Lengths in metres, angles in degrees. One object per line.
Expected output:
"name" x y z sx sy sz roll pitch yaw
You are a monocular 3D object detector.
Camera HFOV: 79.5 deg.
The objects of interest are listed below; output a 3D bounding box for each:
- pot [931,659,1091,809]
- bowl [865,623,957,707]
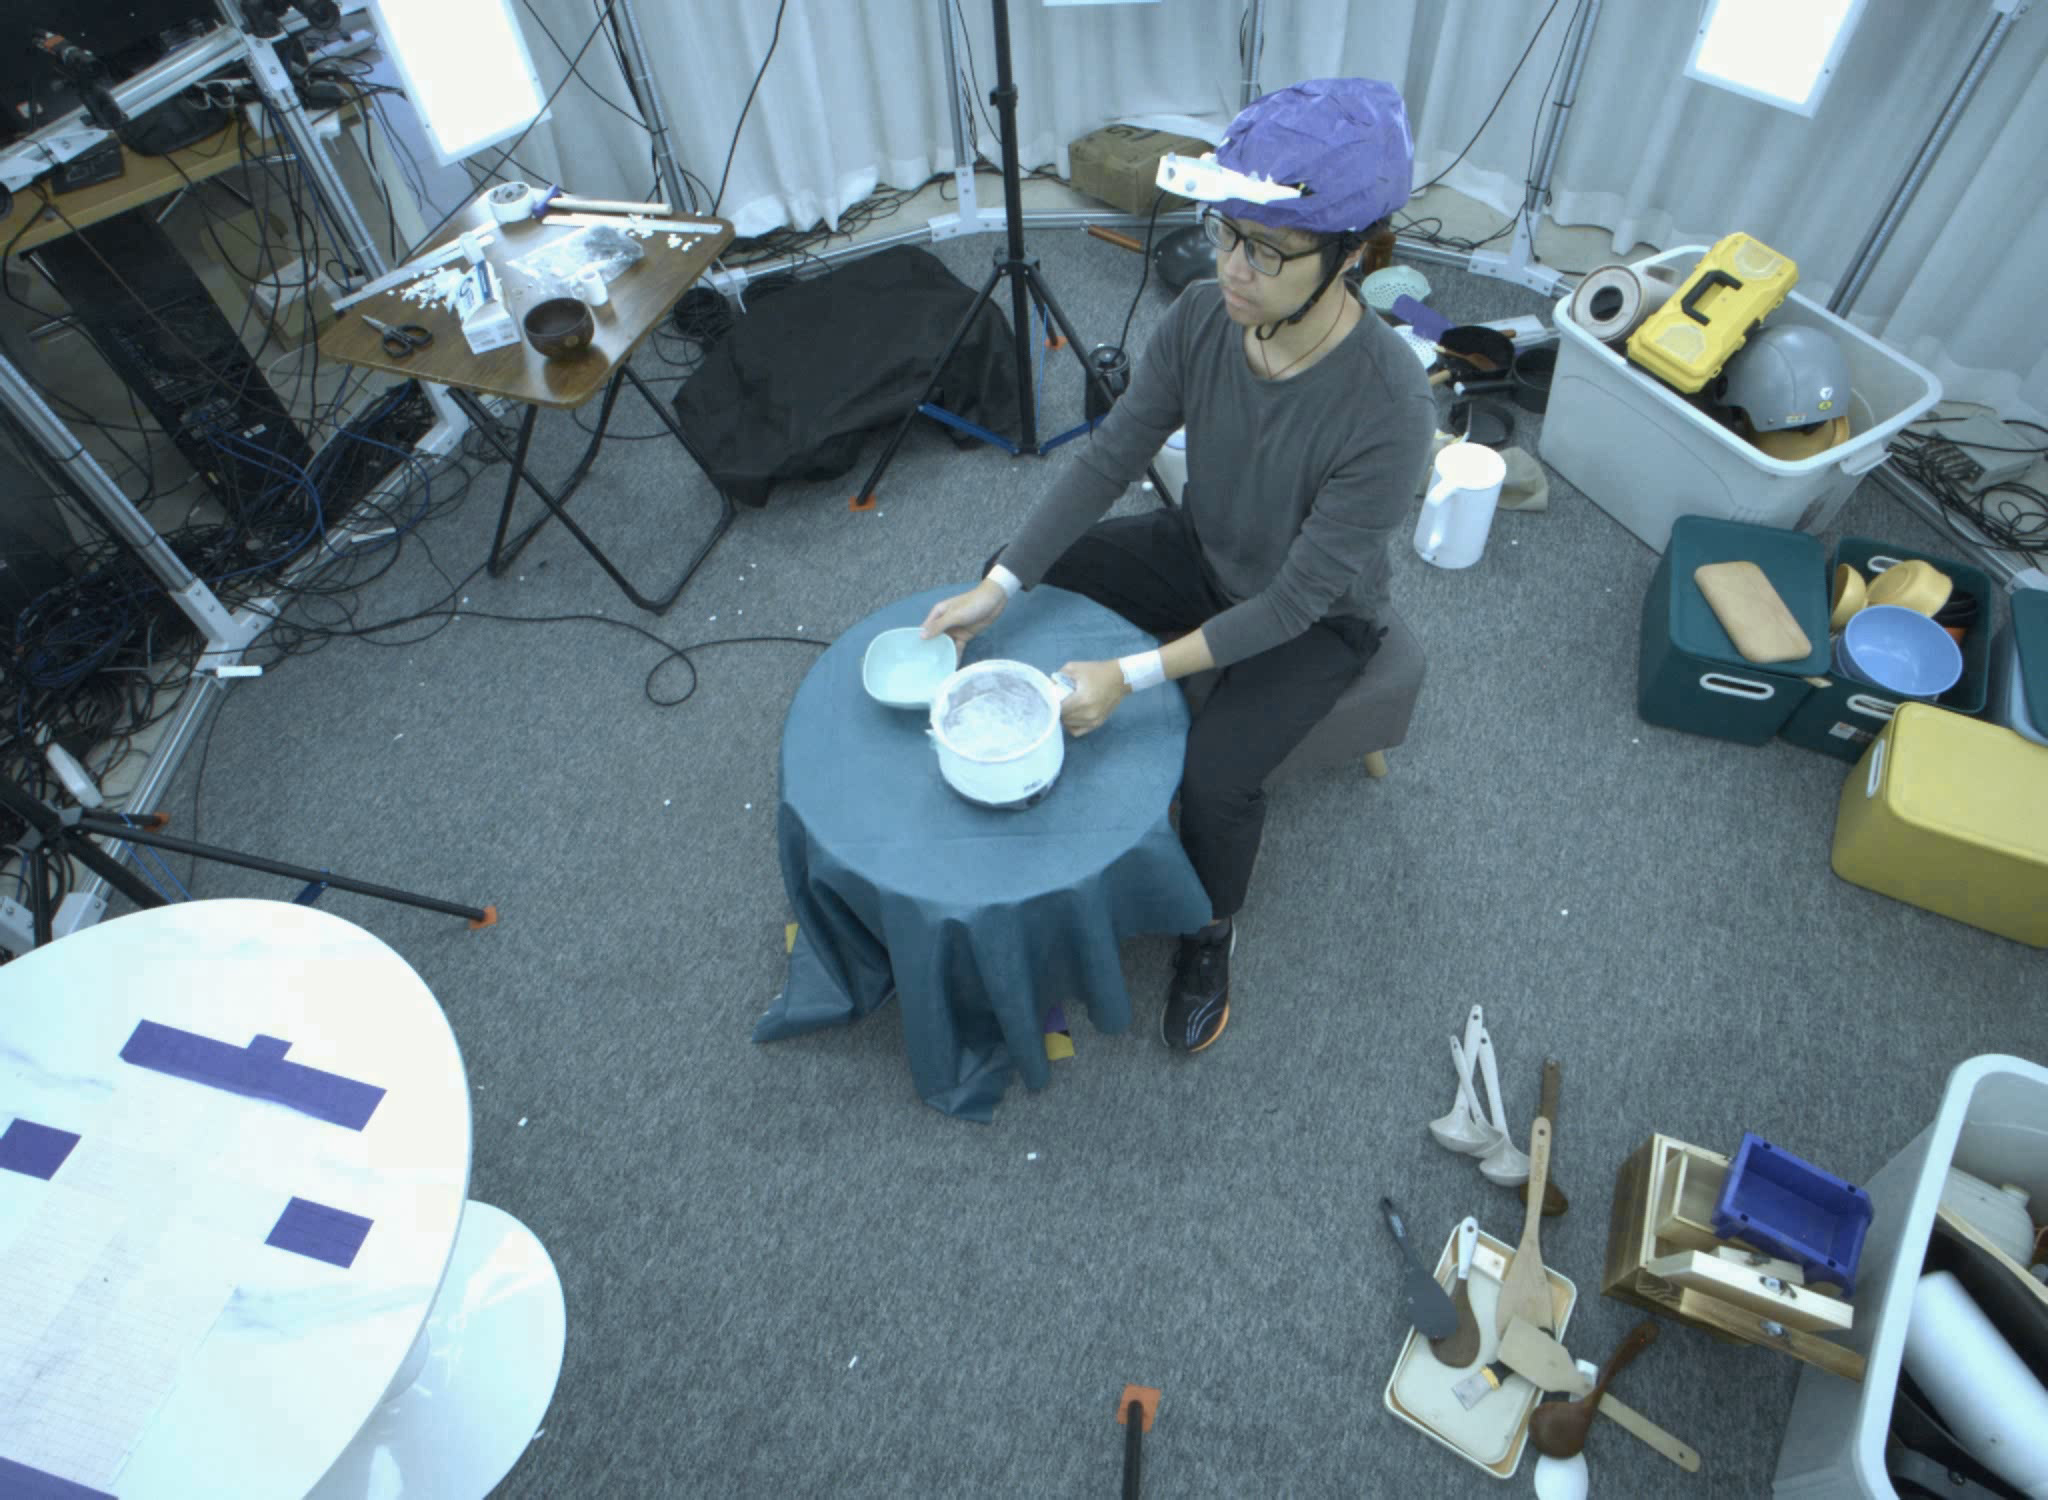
"pot" -0.011 -0.031 1.733 0.235 0.138 0.175 -29 59 -17
"bowl" -0.165 -0.118 1.838 0.151 0.059 0.150 -2 63 5
